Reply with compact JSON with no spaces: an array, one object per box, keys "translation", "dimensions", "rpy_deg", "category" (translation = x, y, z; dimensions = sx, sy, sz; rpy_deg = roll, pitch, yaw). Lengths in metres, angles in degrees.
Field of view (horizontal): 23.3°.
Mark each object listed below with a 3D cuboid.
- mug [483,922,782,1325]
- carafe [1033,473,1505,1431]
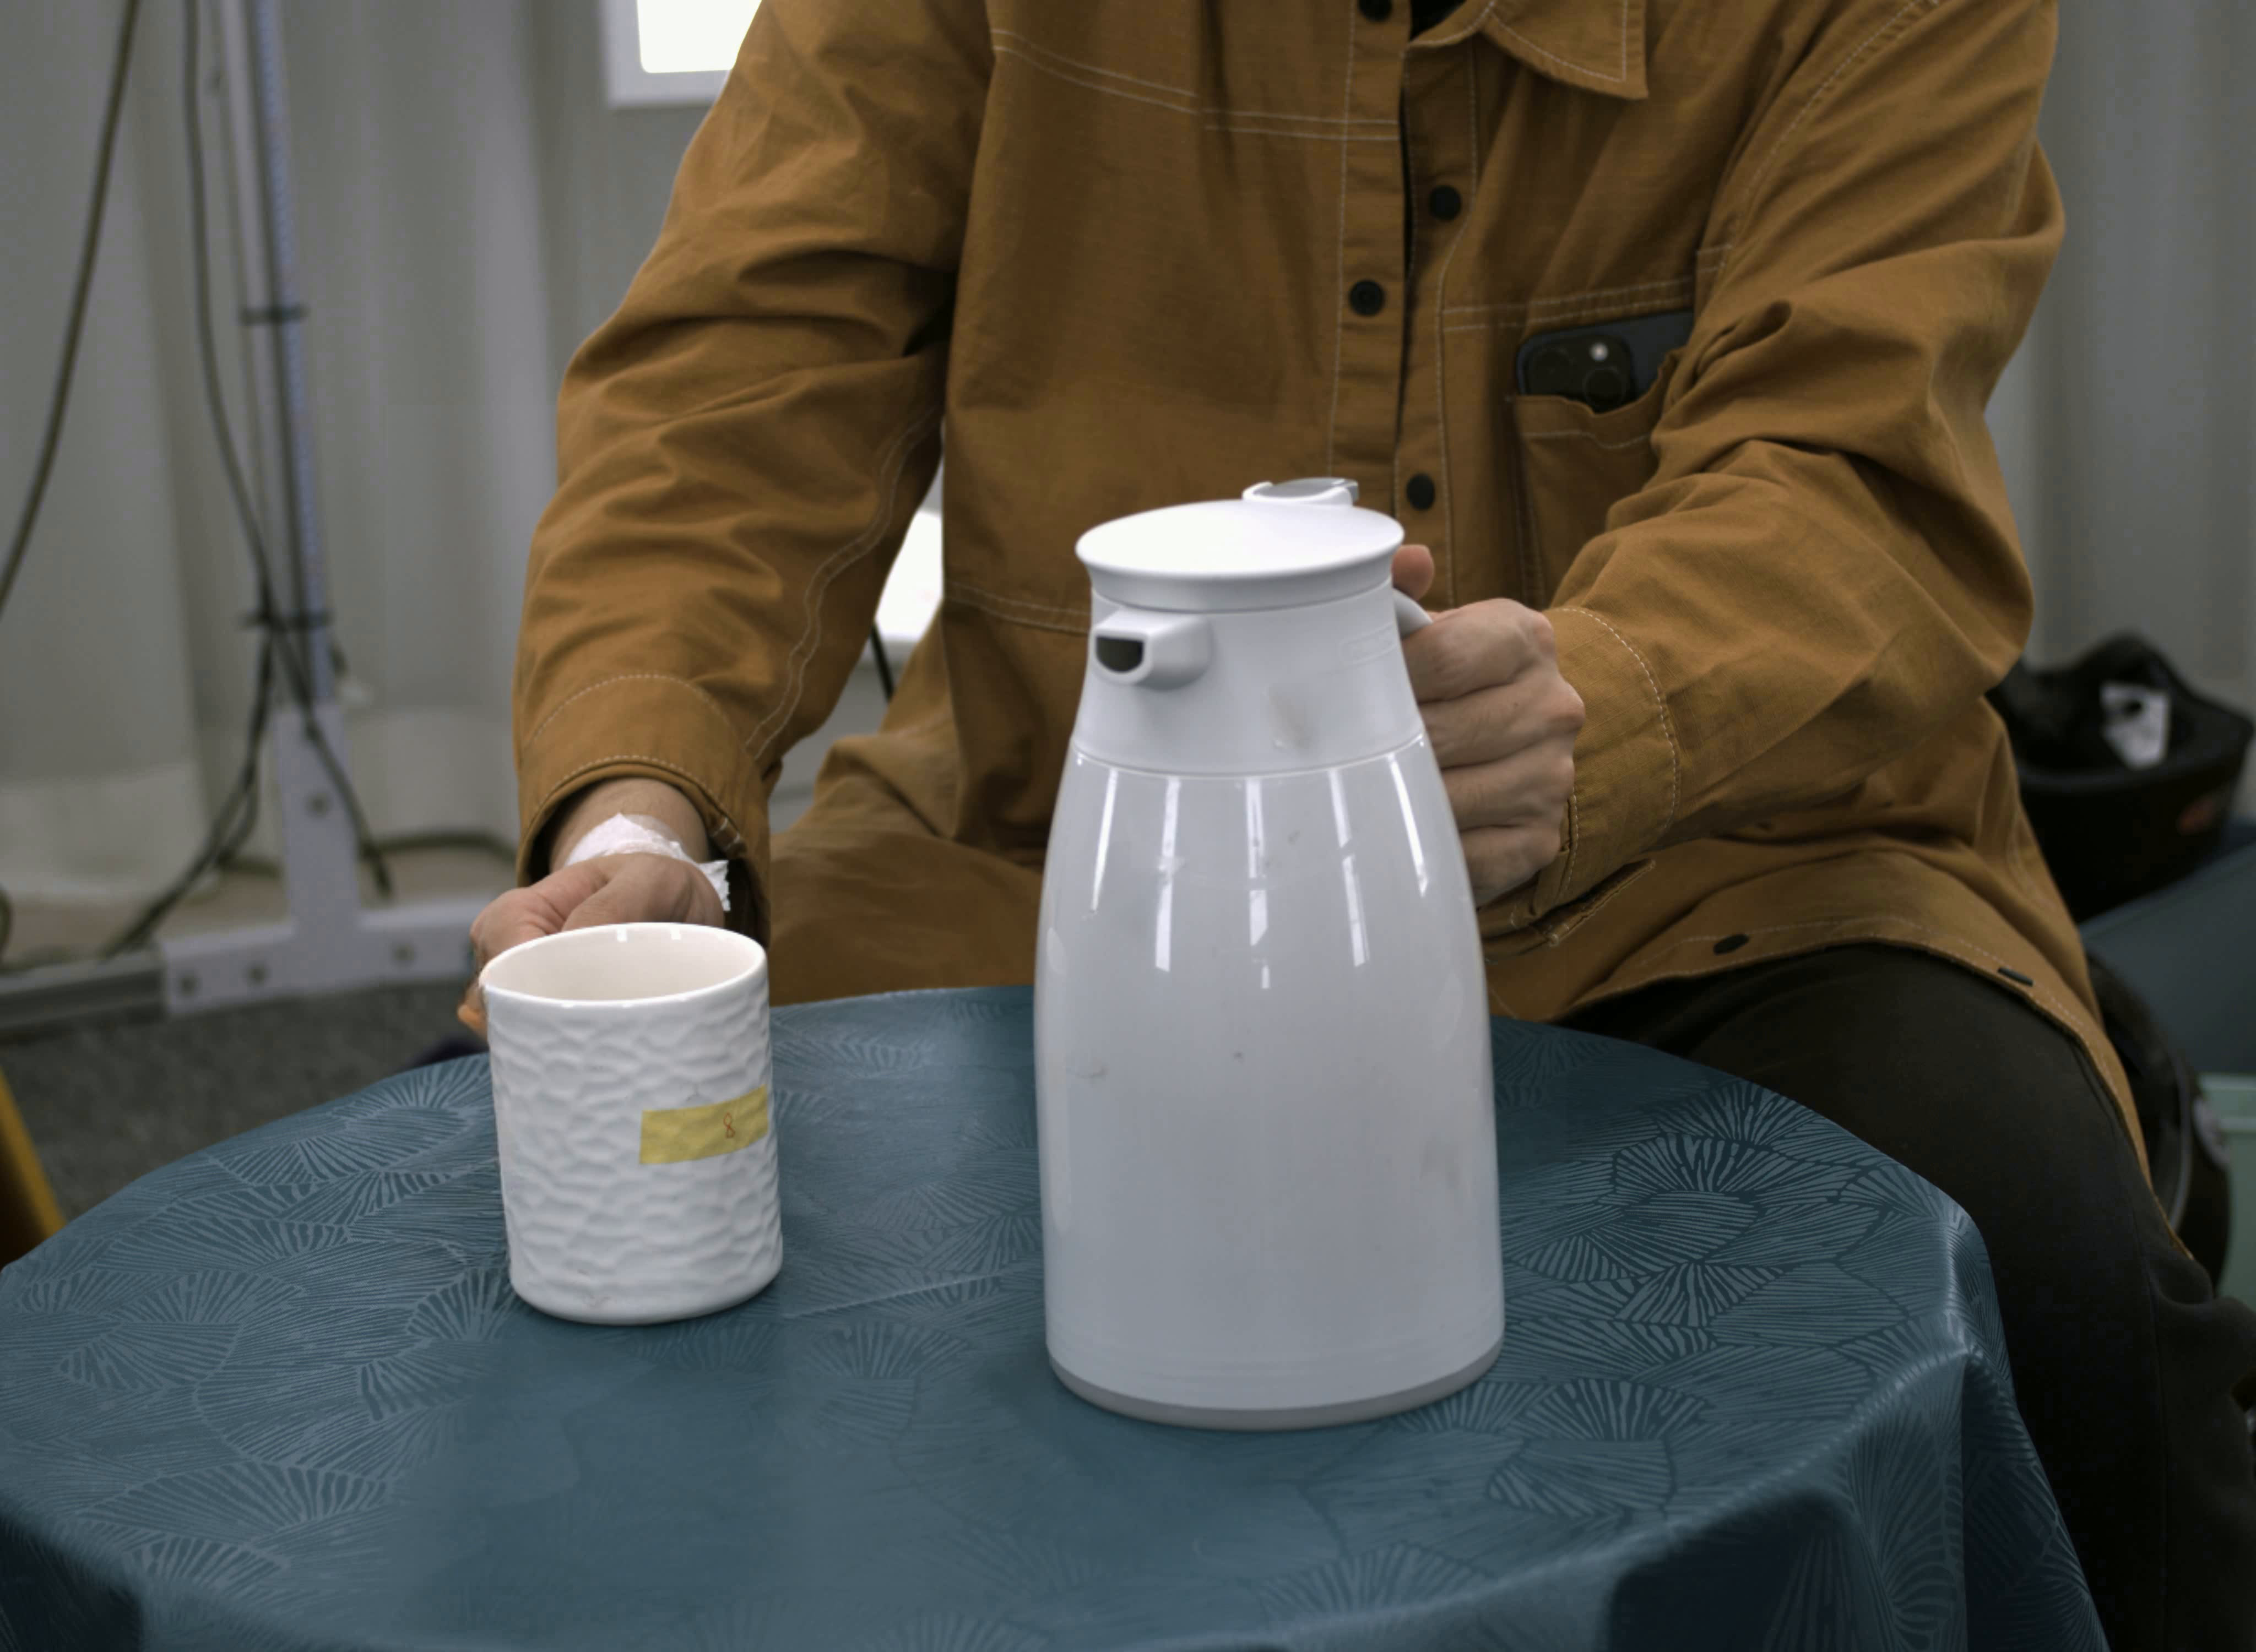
[{"translation":[-0.153,0.086,1.656],"dimensions":[0.084,0.101,0.119],"rpy_deg":[-7,14,-18],"category":"mug"},{"translation":[0.045,0.027,1.558],"dimensions":[0.133,0.248,0.168],"rpy_deg":[5,15,32],"category":"carafe"}]
